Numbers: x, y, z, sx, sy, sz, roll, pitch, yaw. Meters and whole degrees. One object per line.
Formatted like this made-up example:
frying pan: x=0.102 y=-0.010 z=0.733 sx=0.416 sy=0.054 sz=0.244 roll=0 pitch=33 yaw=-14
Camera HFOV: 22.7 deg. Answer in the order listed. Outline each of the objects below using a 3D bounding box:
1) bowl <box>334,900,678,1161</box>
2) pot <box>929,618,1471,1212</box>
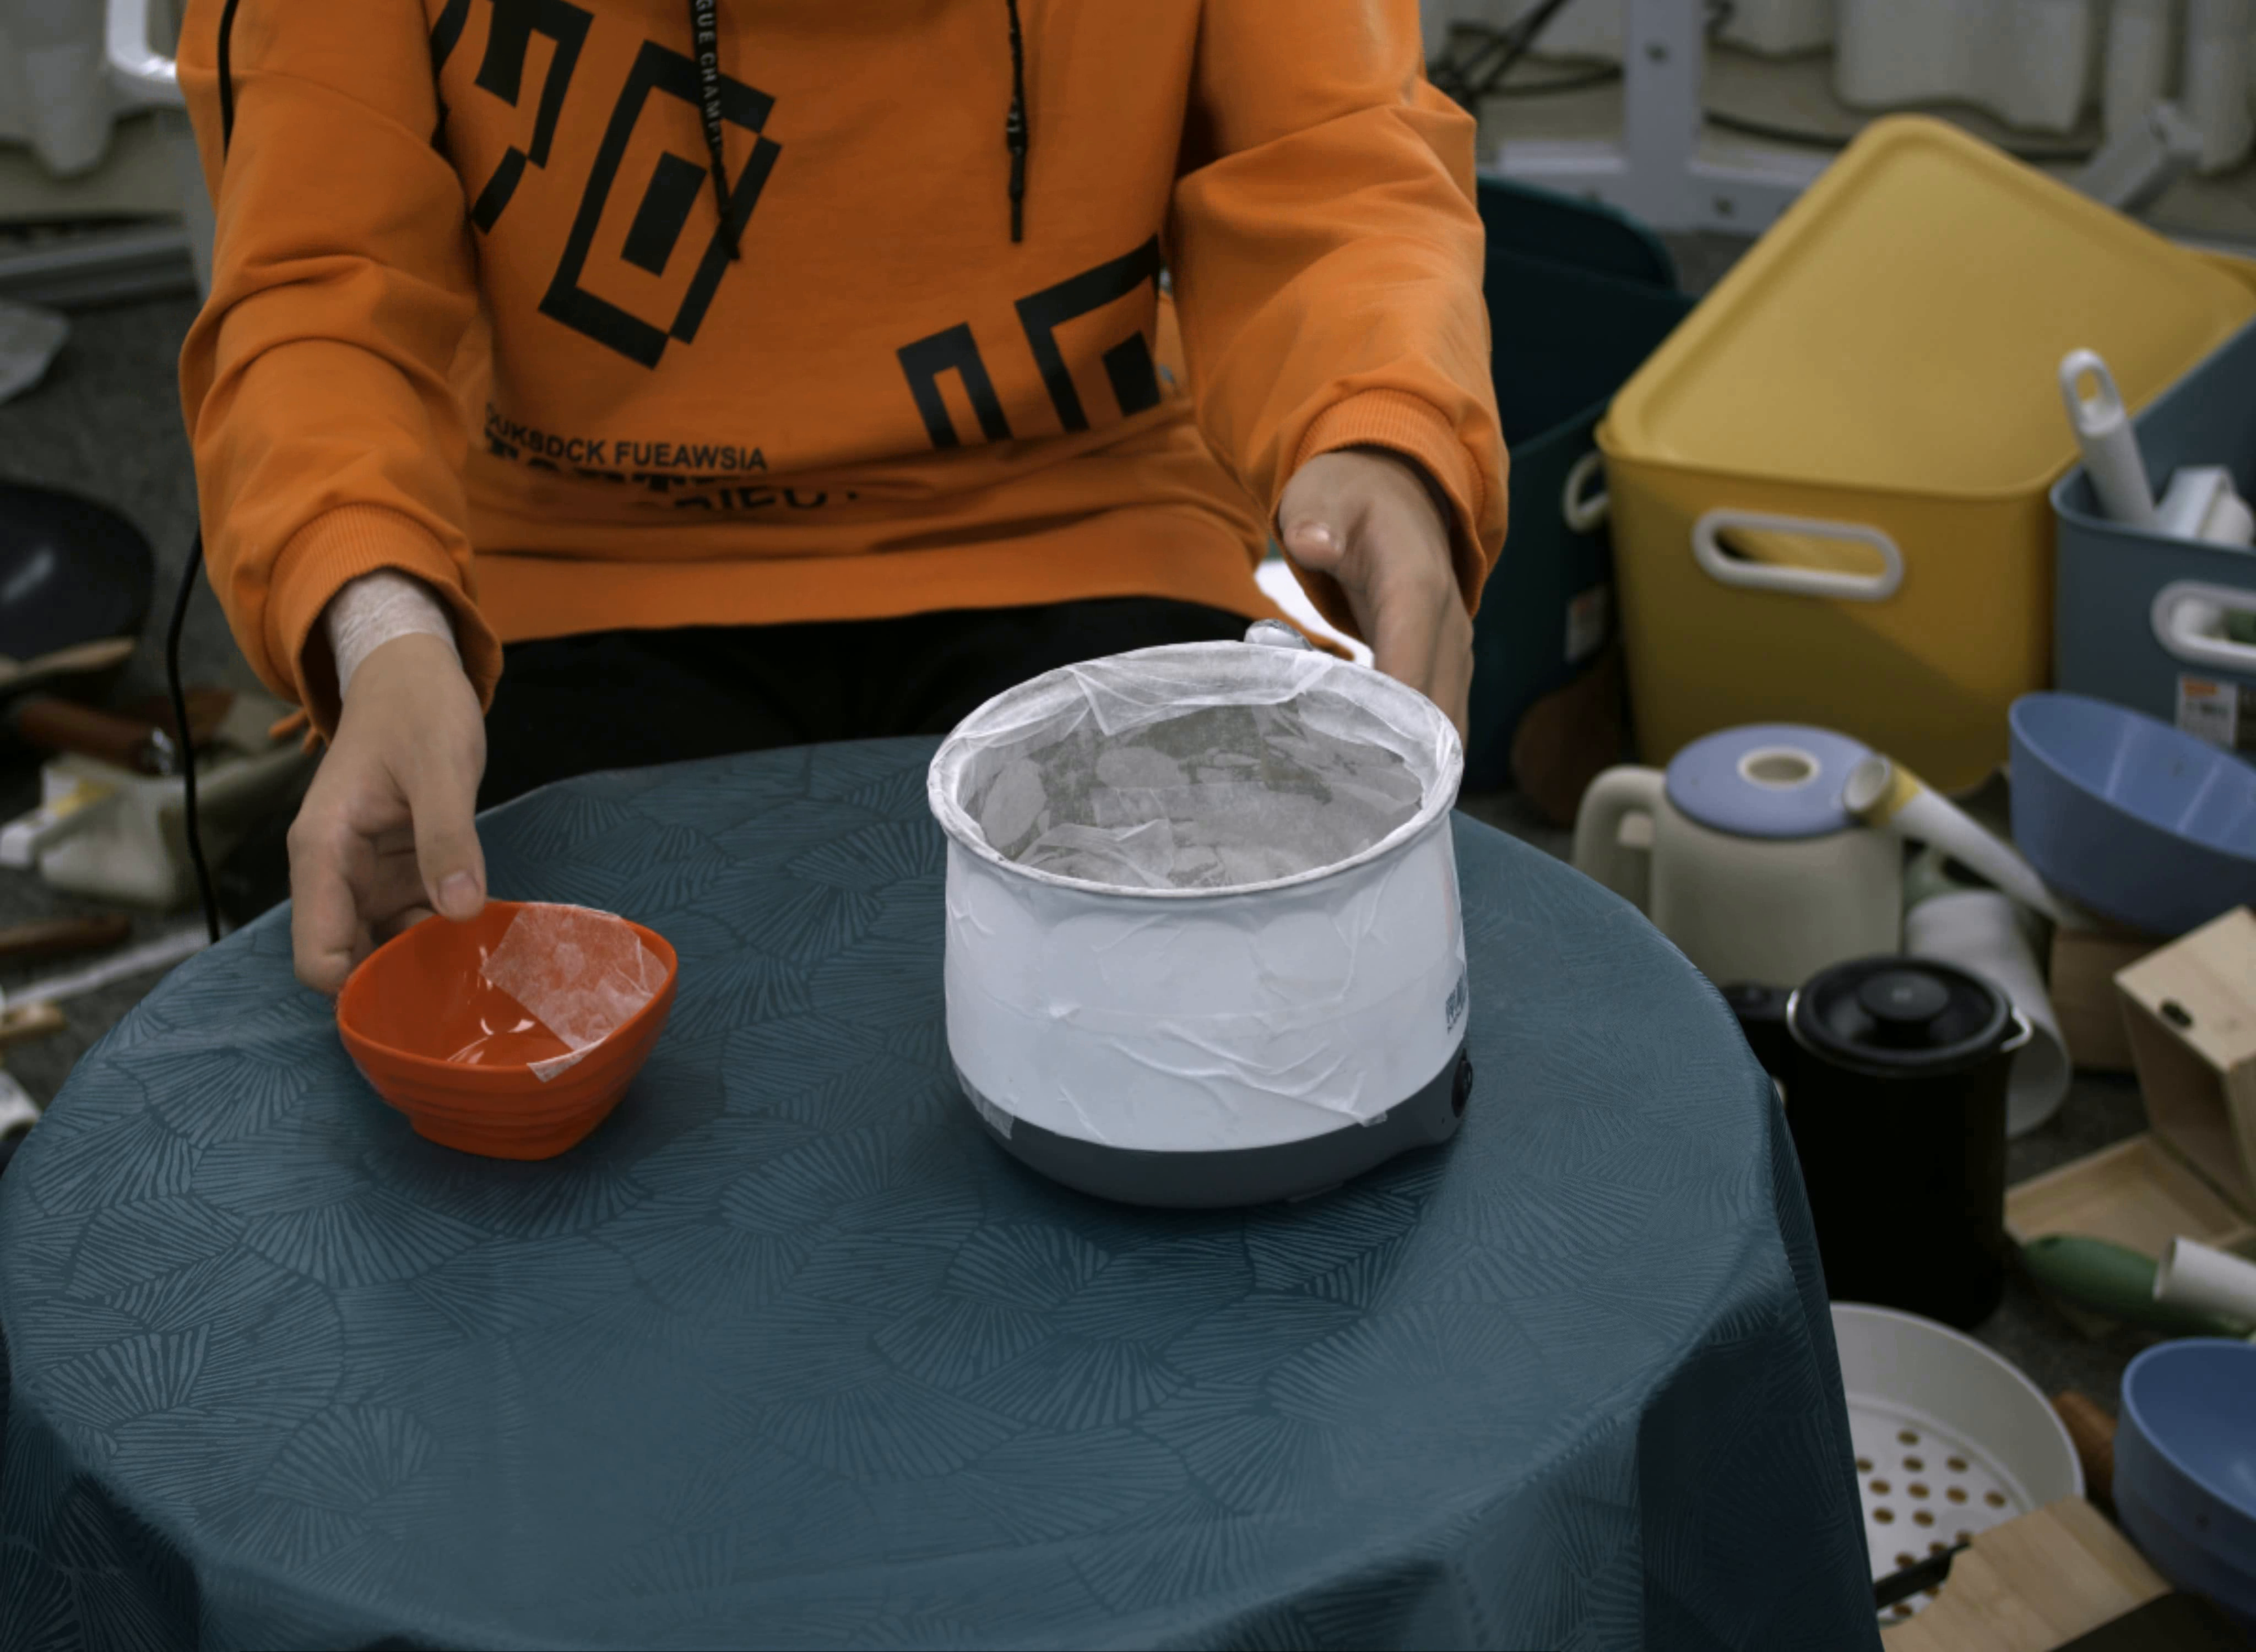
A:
bowl: x=-0.209 y=0.075 z=1.918 sx=0.118 sy=0.051 sz=0.121 roll=-3 pitch=28 yaw=2
pot: x=0.032 y=0.022 z=1.903 sx=0.177 sy=0.135 sz=0.238 roll=4 pitch=28 yaw=14
